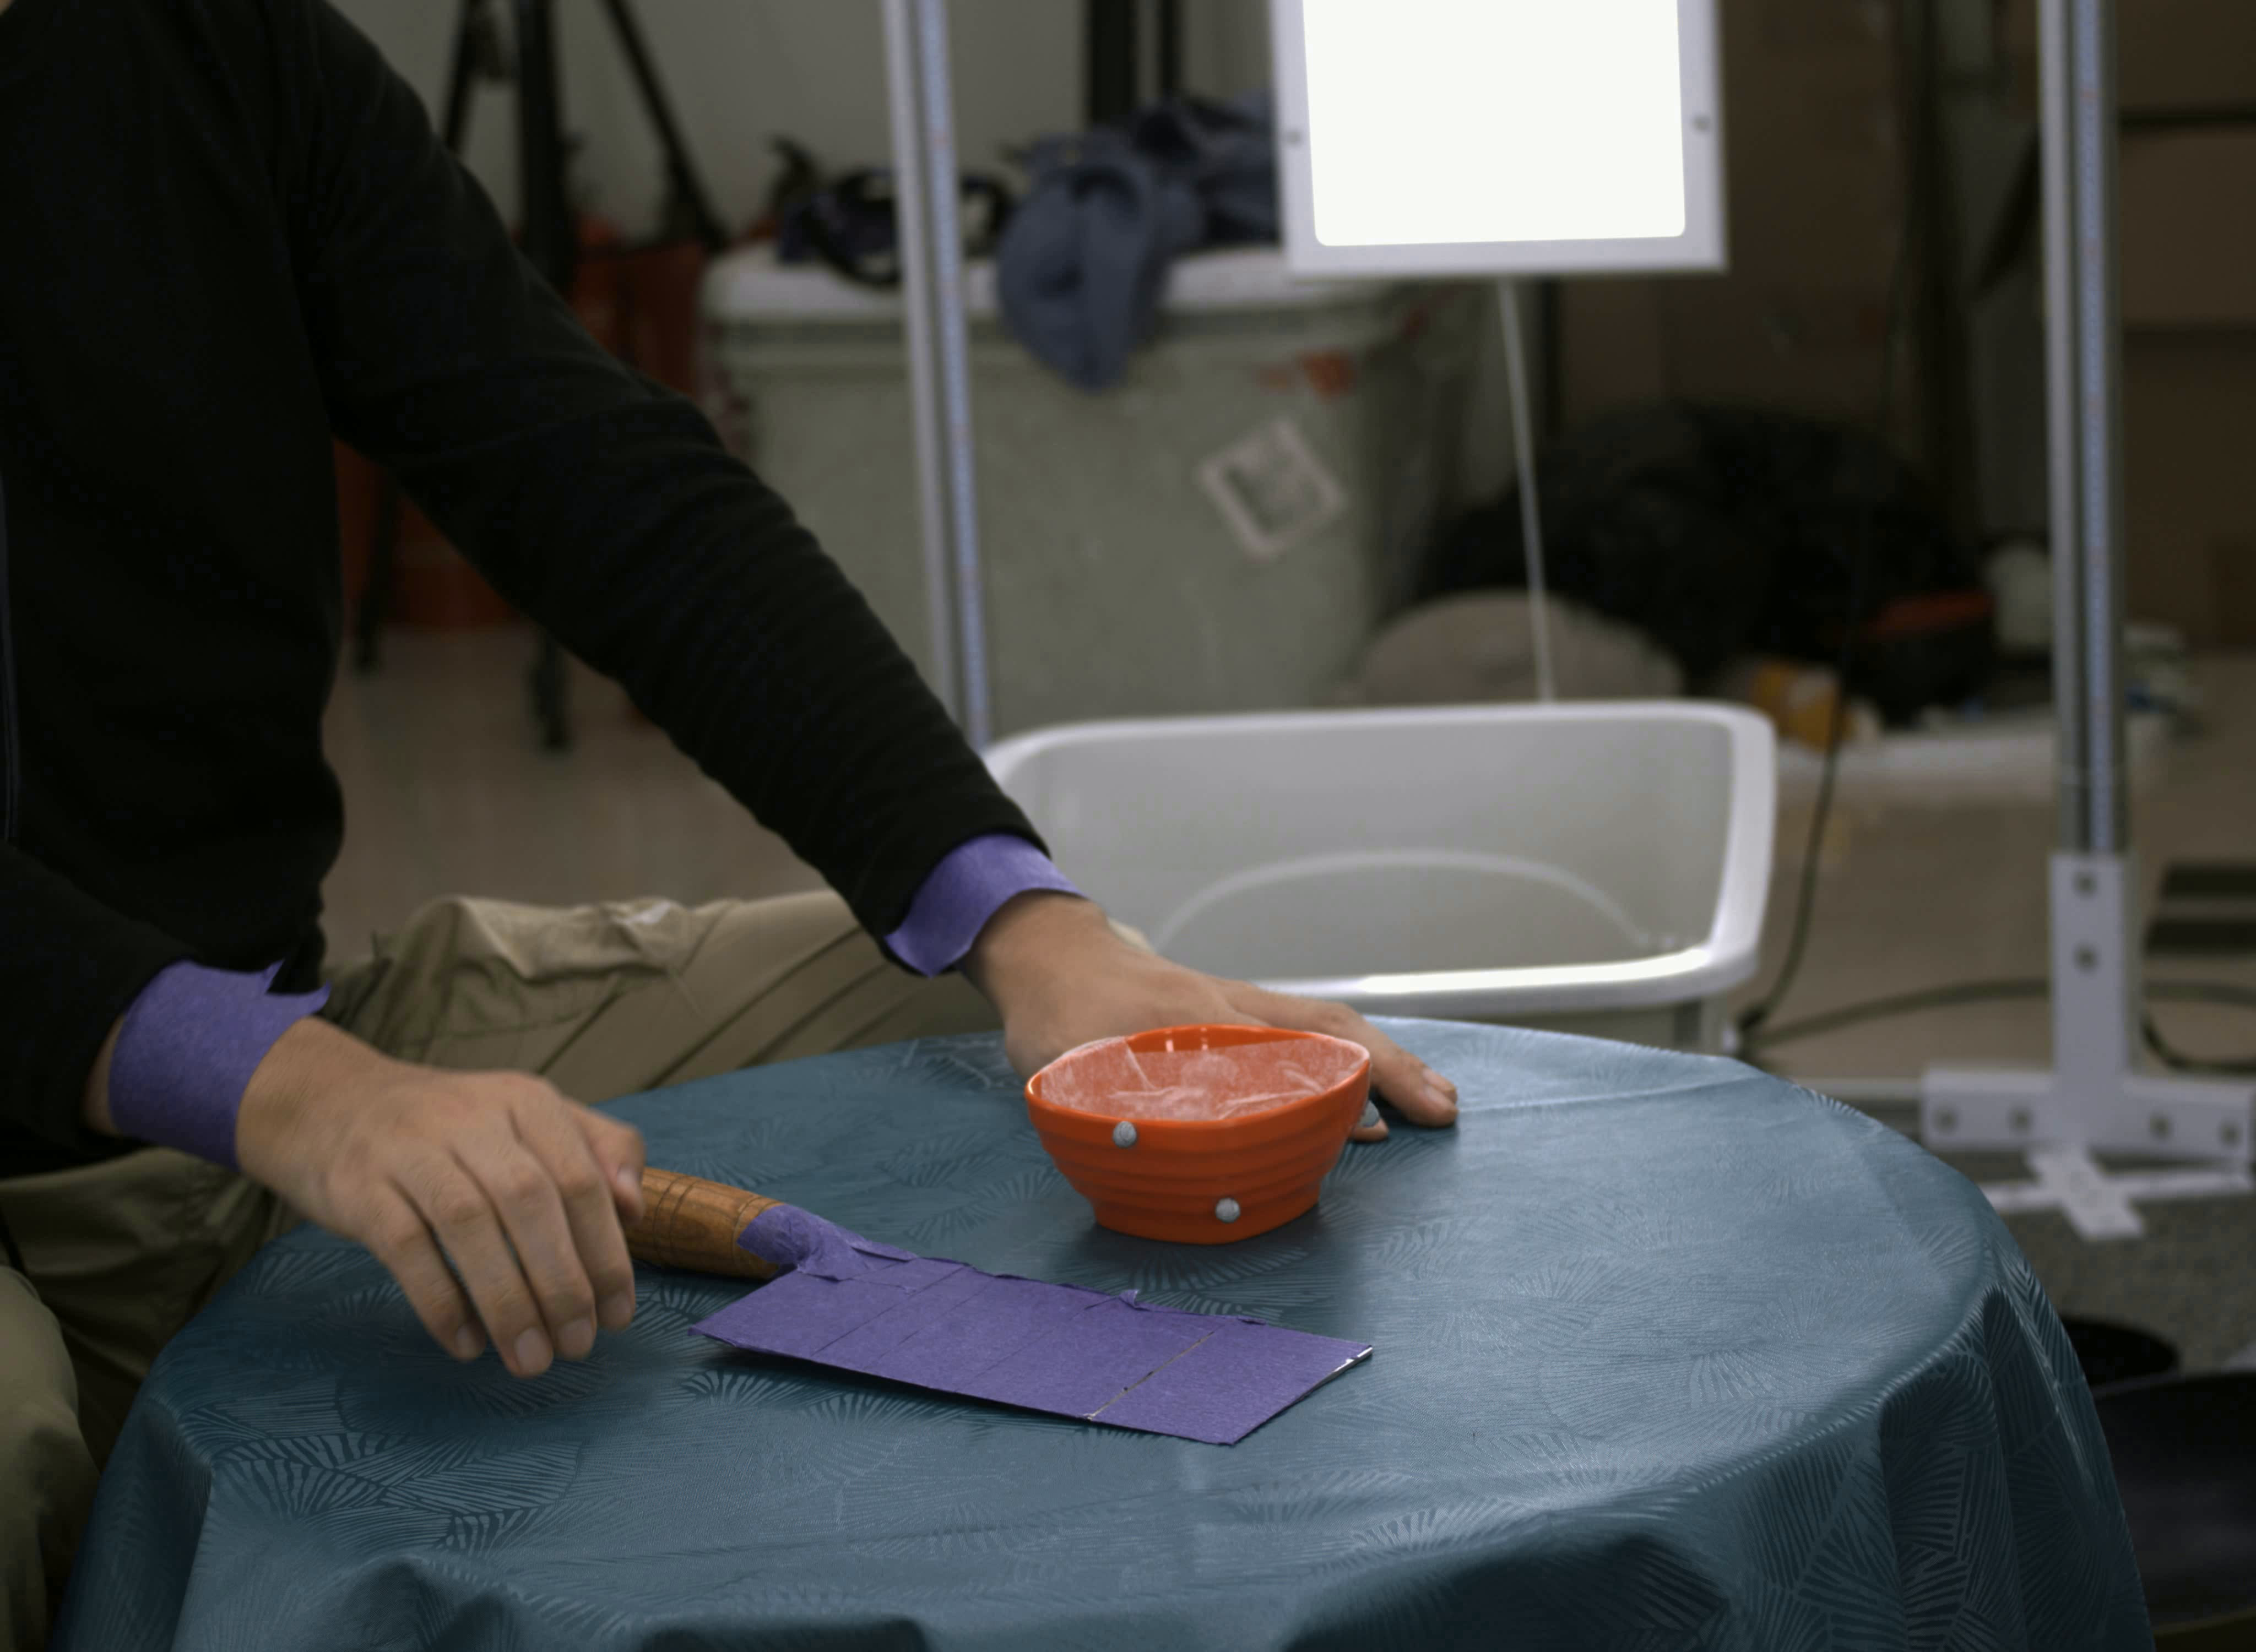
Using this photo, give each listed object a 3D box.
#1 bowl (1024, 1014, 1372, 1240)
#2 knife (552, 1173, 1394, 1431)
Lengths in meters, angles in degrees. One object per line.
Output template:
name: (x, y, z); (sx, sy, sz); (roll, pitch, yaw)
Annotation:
bowl: (0.025, 0.104, 1.864); (0.118, 0.051, 0.119); (-4, 15, 0)
knife: (-0.073, 0.152, 1.769); (0.321, 0.032, 0.101); (5, 17, 34)
